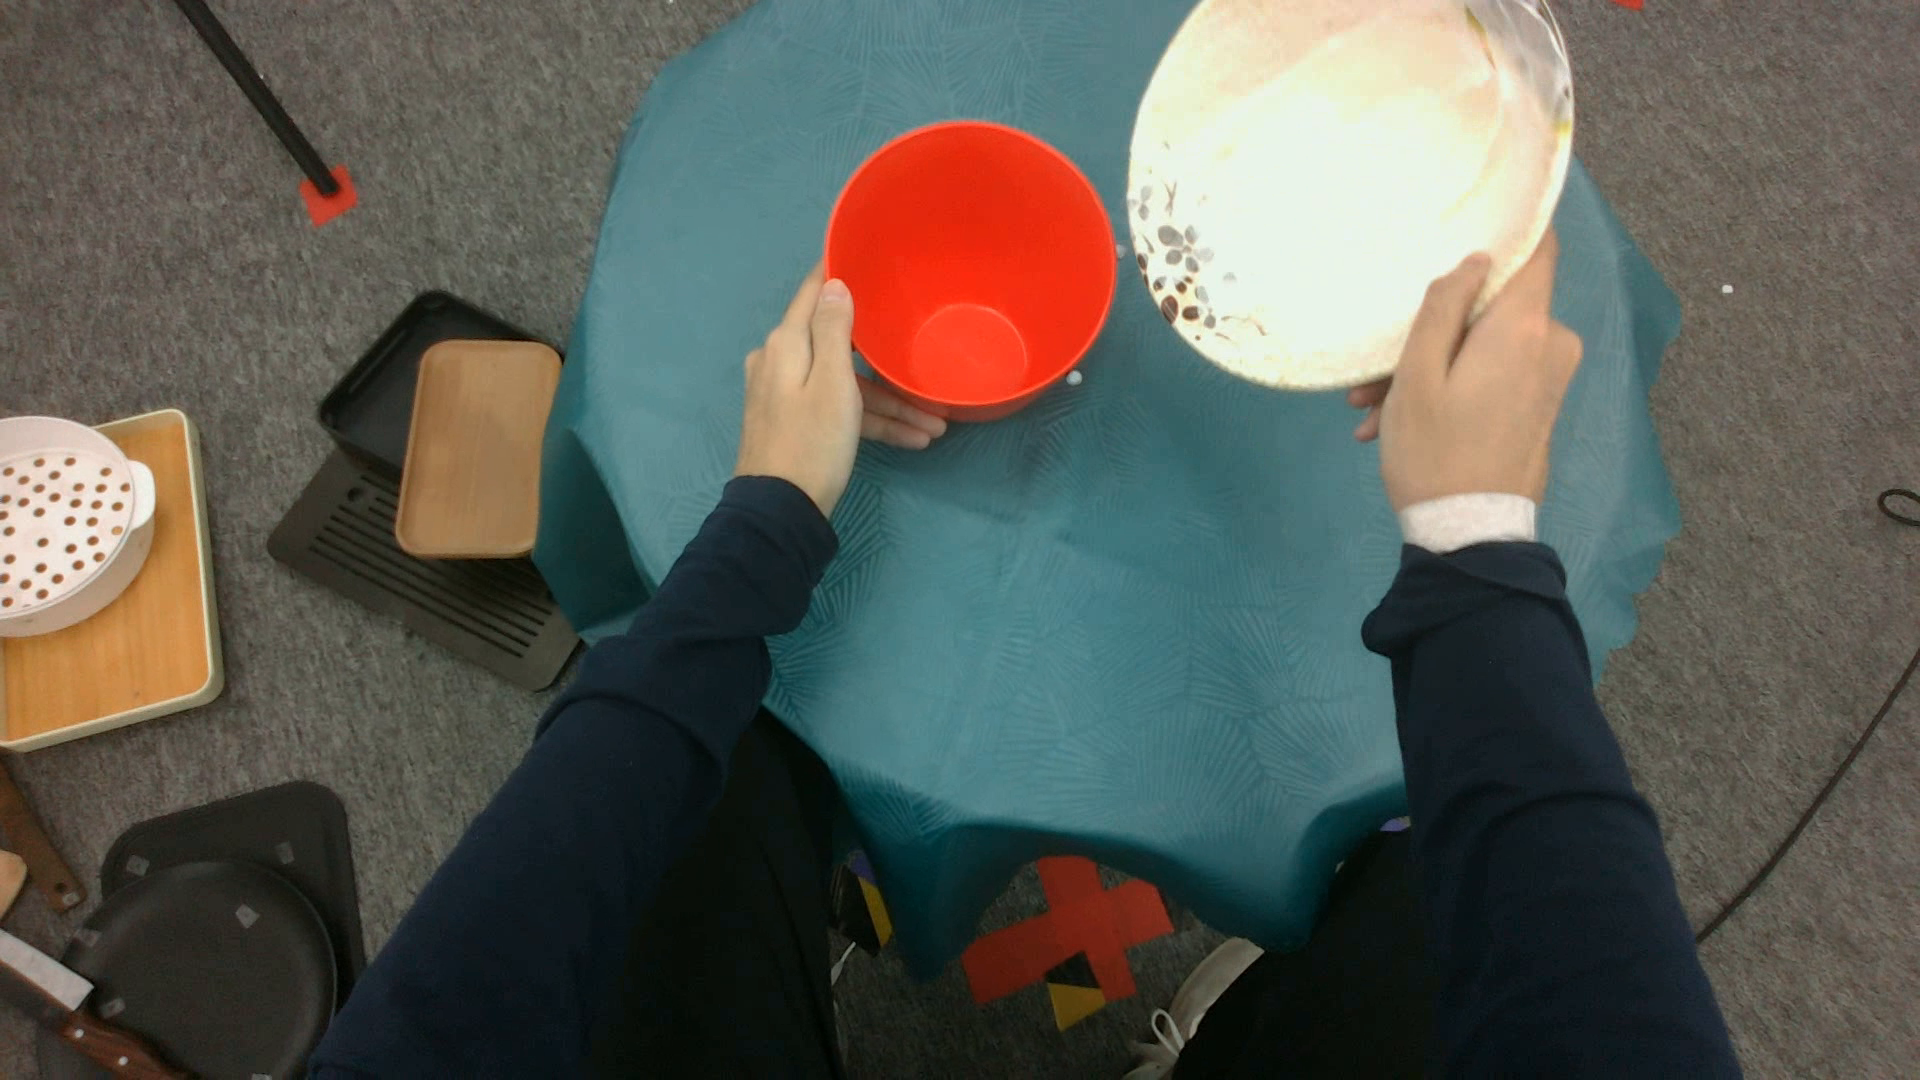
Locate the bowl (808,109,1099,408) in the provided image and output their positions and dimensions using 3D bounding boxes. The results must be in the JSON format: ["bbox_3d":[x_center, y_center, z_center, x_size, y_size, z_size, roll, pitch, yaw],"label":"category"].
[{"bbox_3d":[-0.004,-0.135,0.731,0.148,0.104,0.148,1,73,-2],"label":"bowl"}]

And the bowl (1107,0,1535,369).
[{"bbox_3d":[0.169,-0.179,0.618,0.078,0.203,0.204,-7,65,-46],"label":"bowl"}]
